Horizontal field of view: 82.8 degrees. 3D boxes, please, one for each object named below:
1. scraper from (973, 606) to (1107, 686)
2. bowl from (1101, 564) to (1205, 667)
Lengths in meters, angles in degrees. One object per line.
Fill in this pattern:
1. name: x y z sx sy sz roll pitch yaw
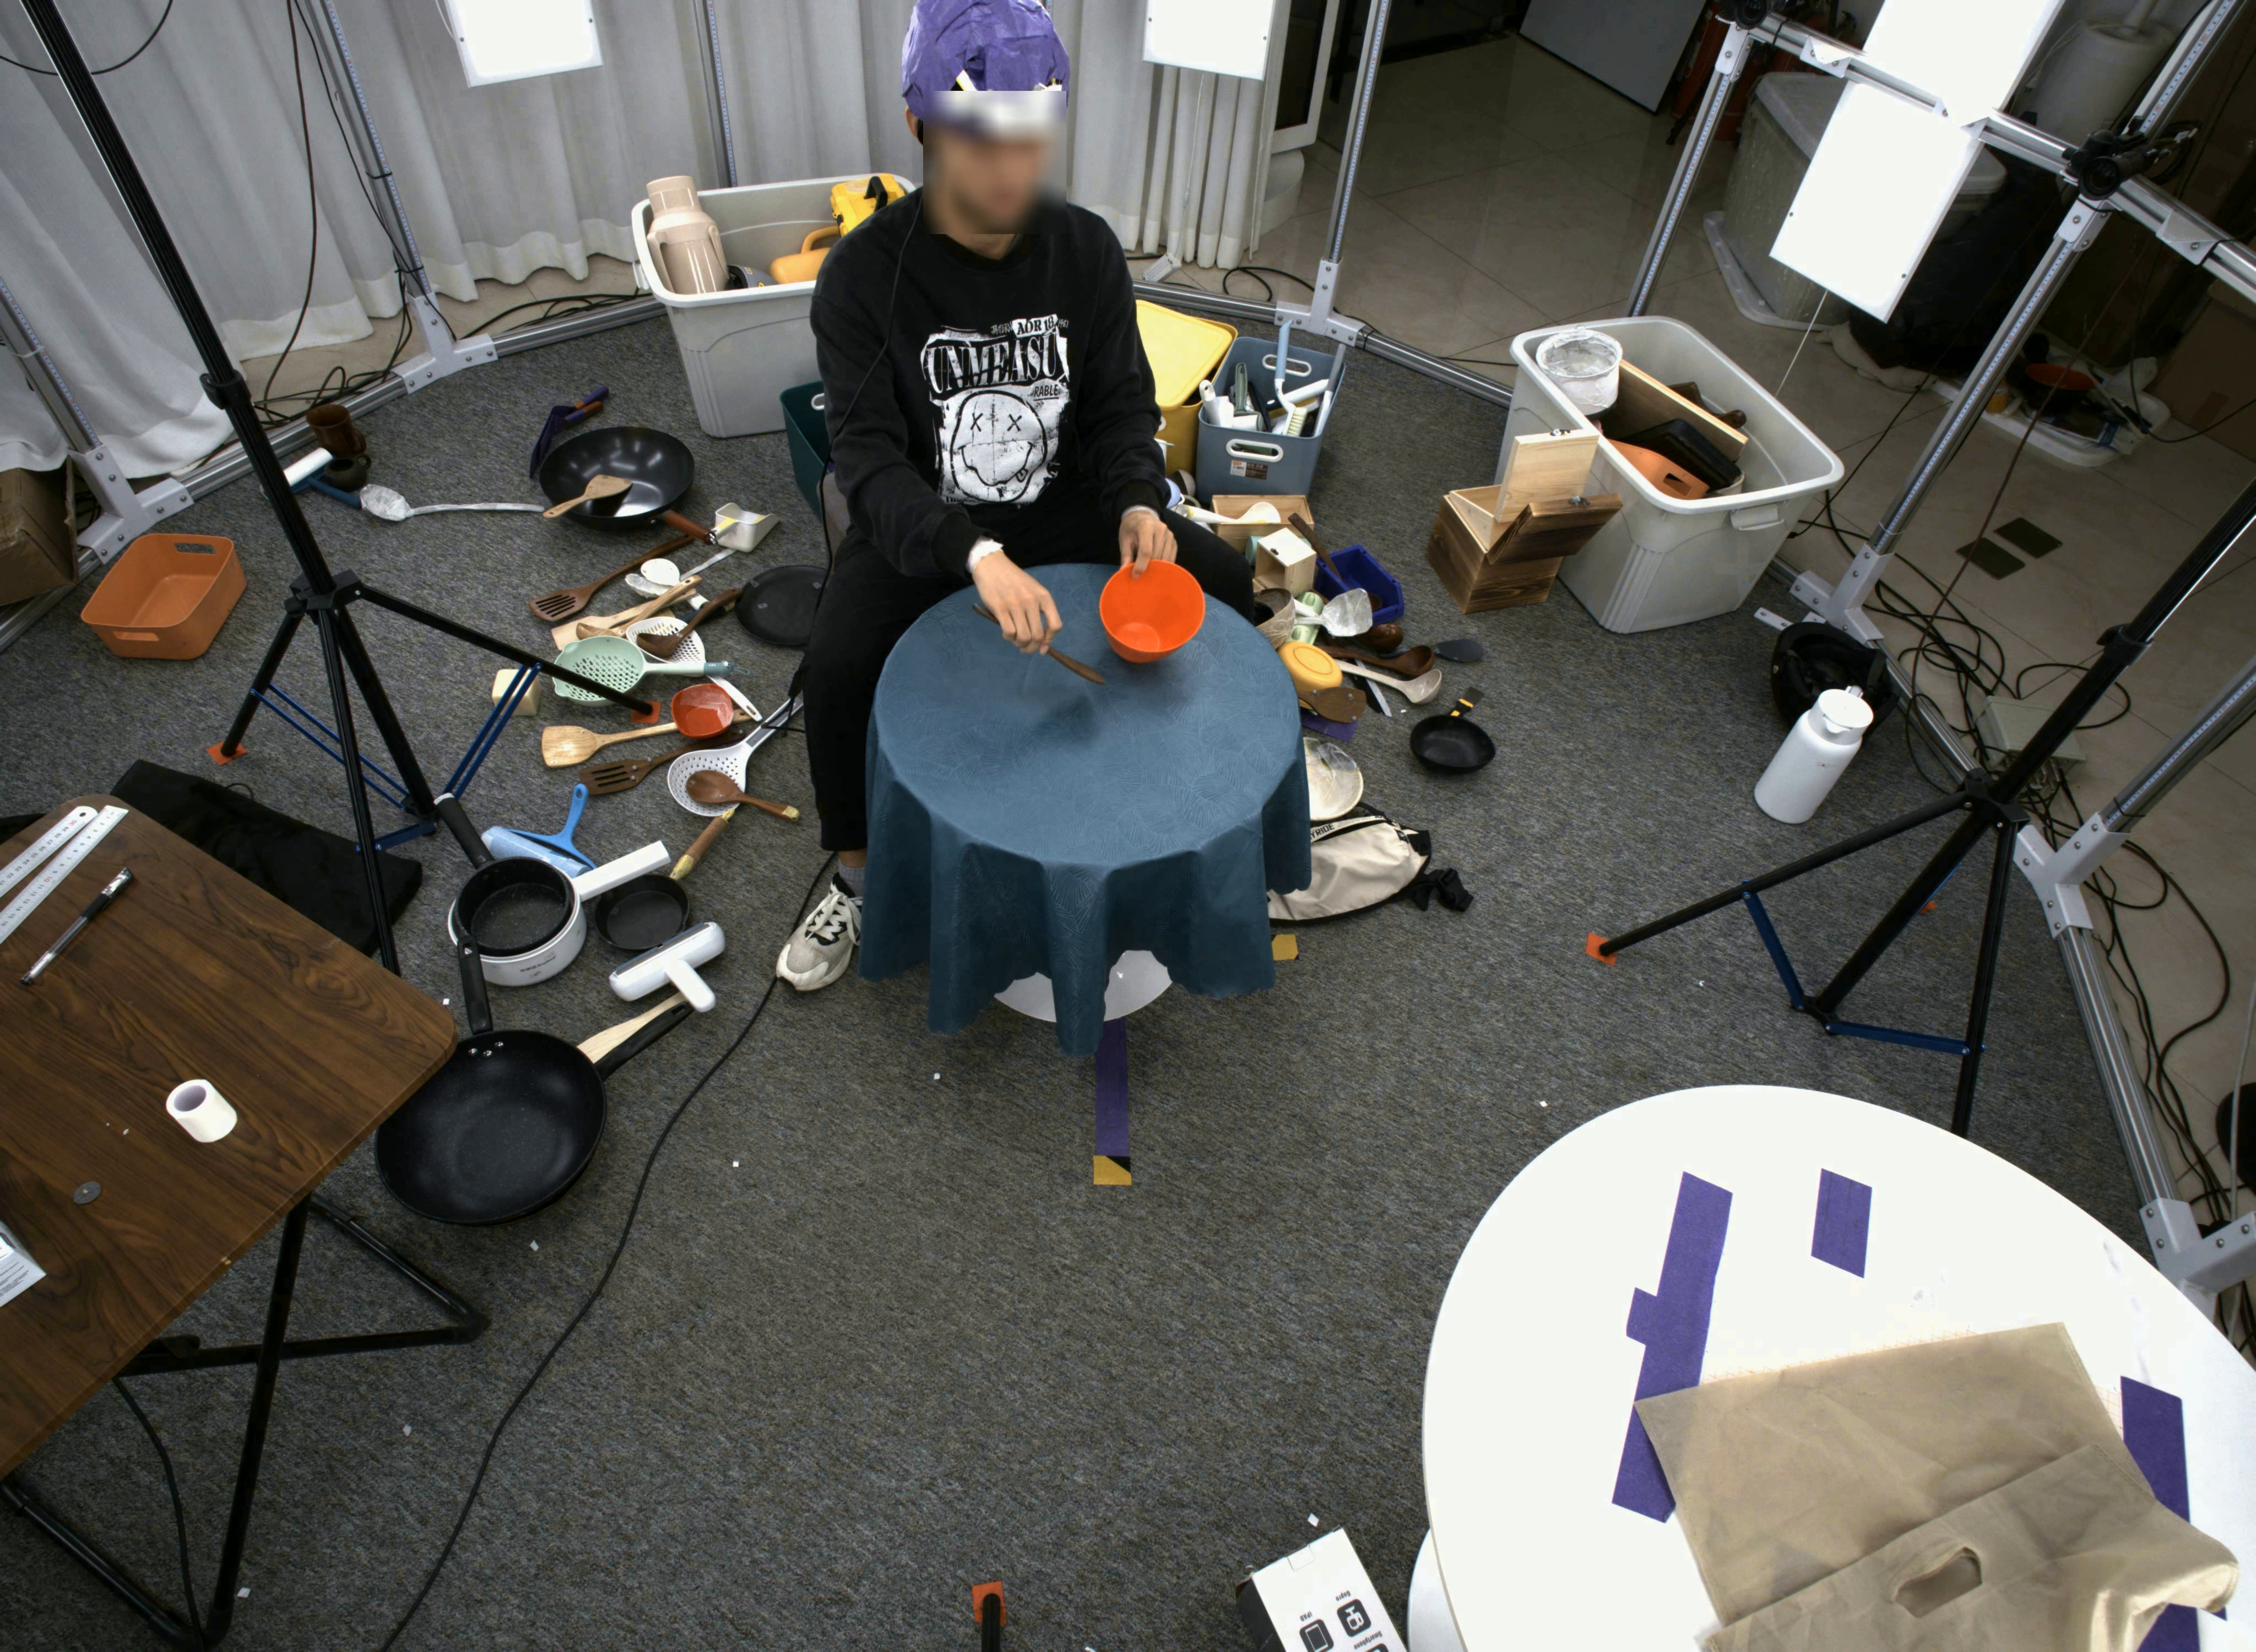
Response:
1. scraper: -0.121 -0.245 1.748 0.208 0.011 0.077 28 11 -28
2. bowl: 0.030 -0.291 1.865 0.148 0.102 0.151 3 63 -7
